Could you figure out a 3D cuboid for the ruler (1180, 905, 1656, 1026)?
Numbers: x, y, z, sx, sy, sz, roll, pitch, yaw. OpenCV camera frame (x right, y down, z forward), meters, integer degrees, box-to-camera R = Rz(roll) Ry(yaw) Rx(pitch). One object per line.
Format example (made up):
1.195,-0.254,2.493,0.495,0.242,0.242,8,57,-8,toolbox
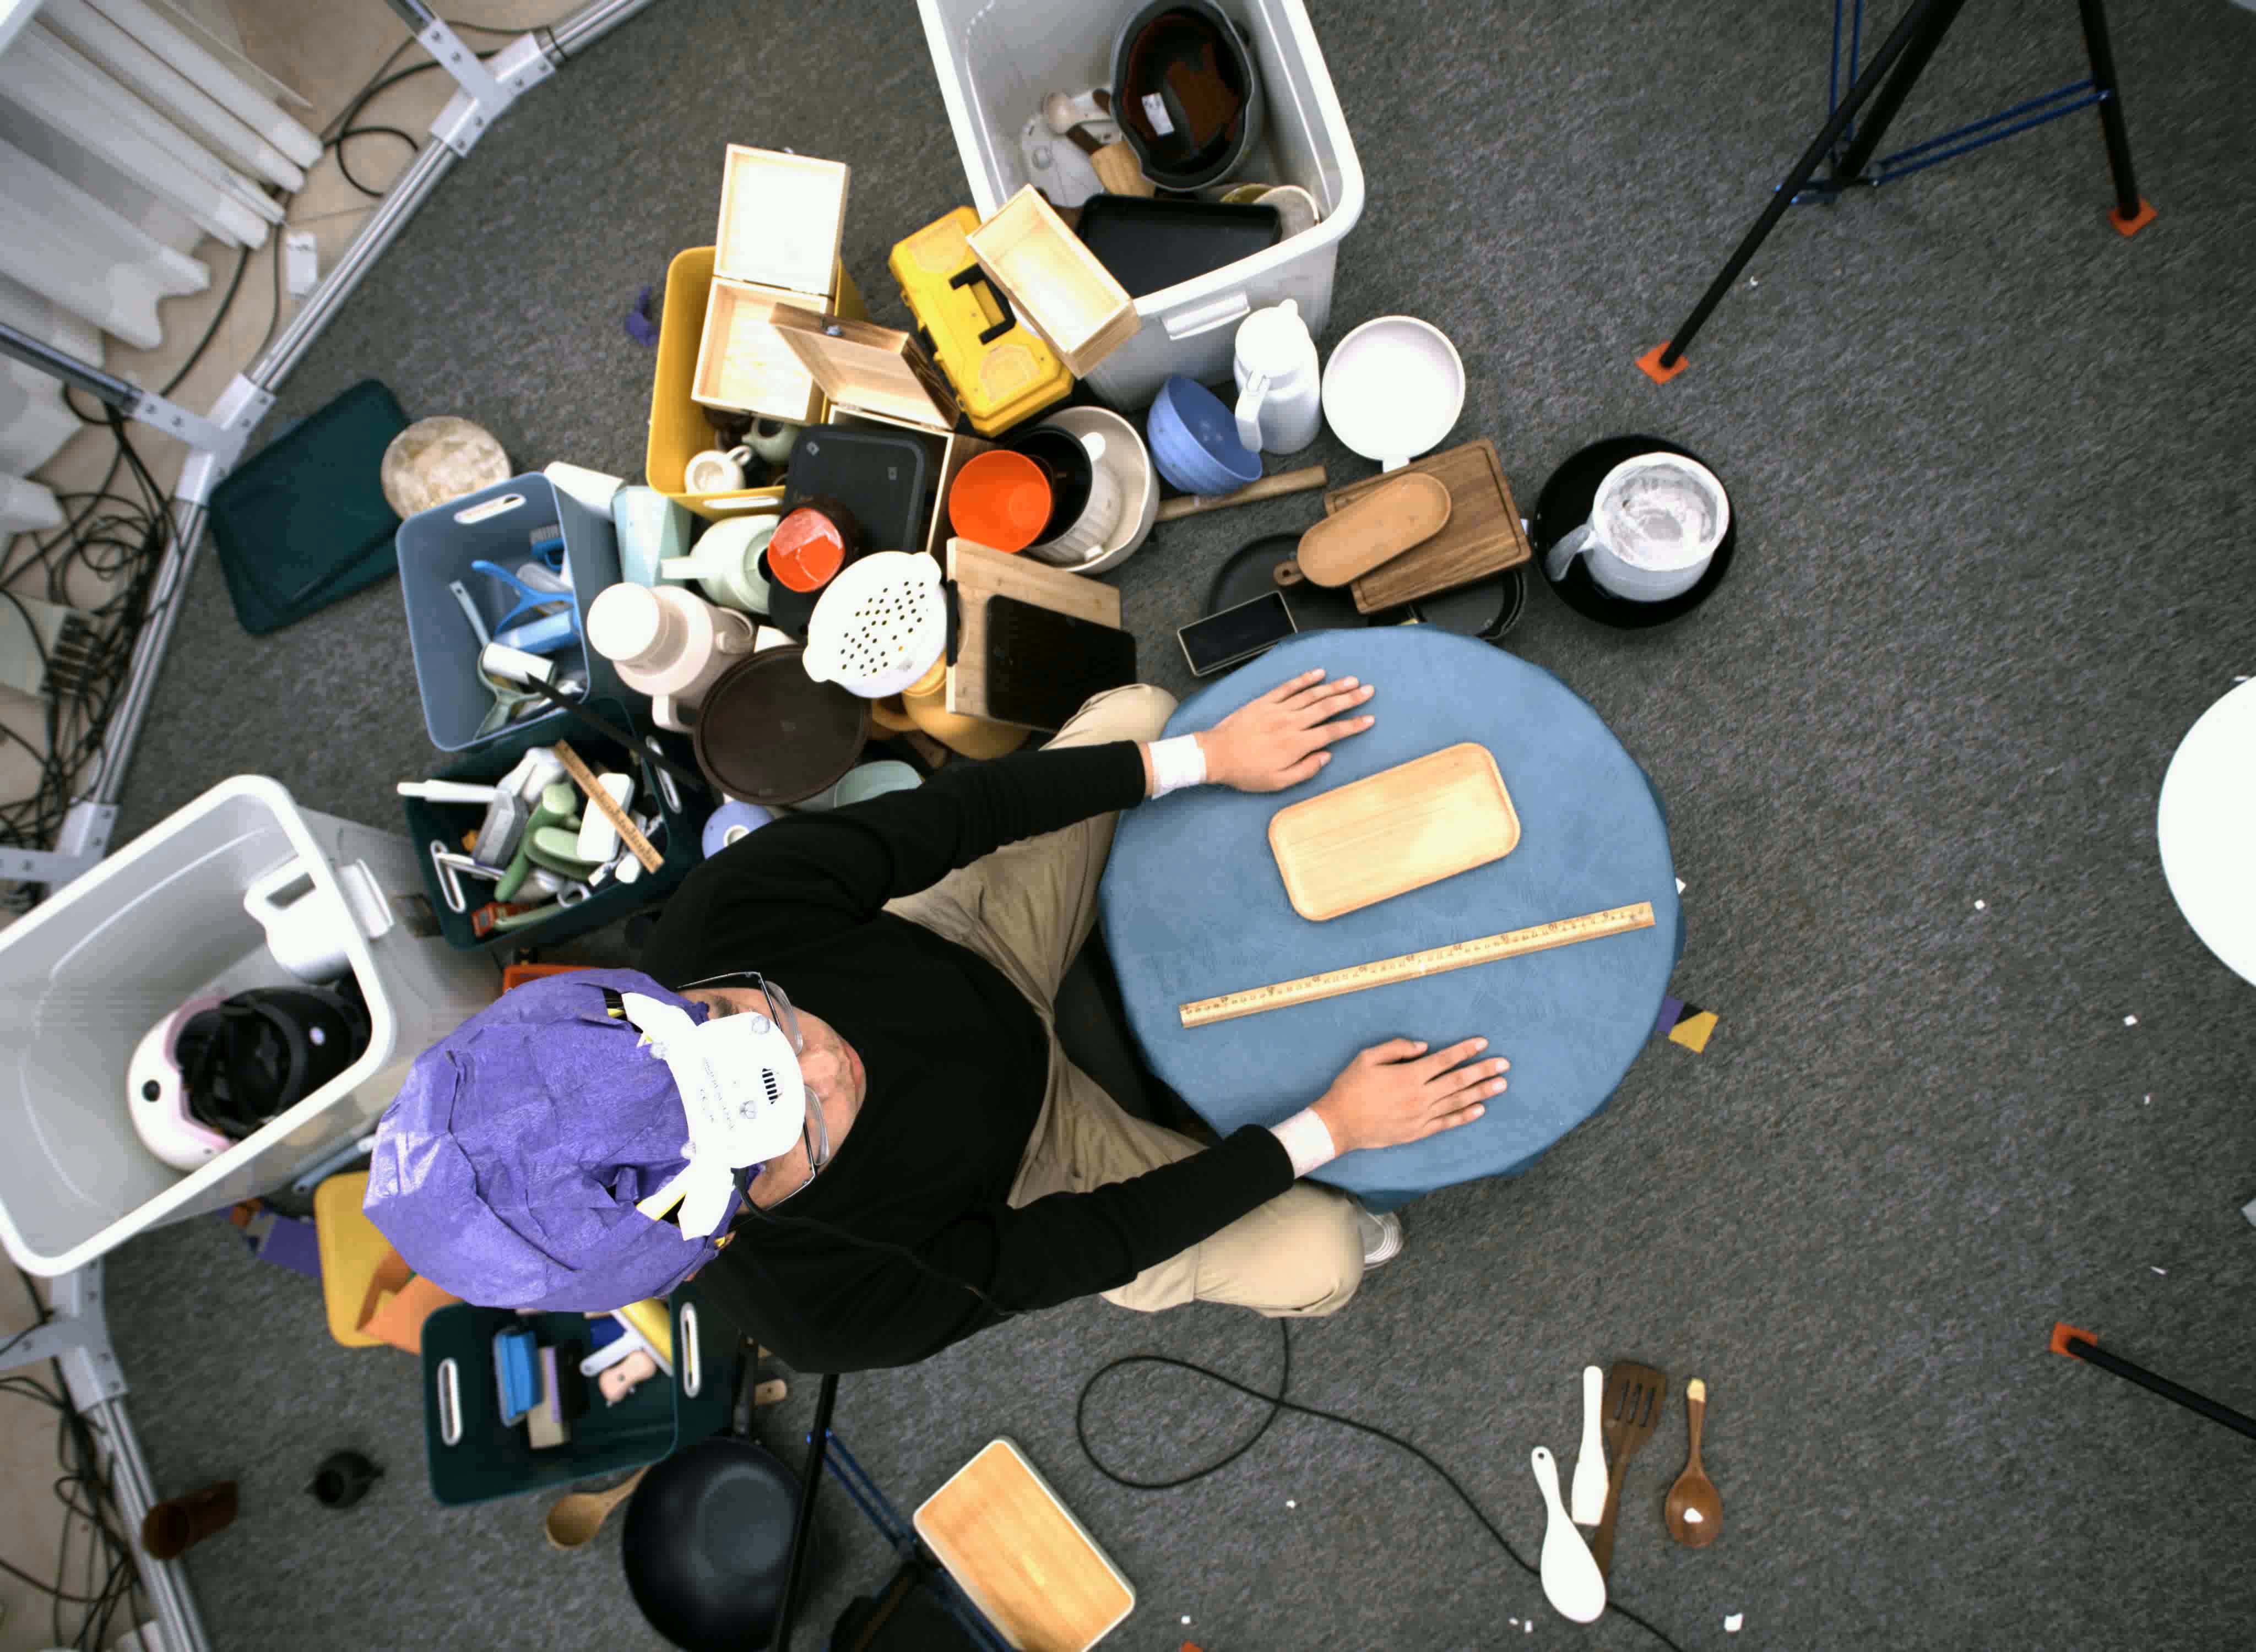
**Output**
0.298,0.145,1.448,0.503,0.006,0.026,-13,82,10,ruler

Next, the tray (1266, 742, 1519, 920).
0.277,0.005,1.454,0.252,0.023,0.129,-19,81,10,tray
